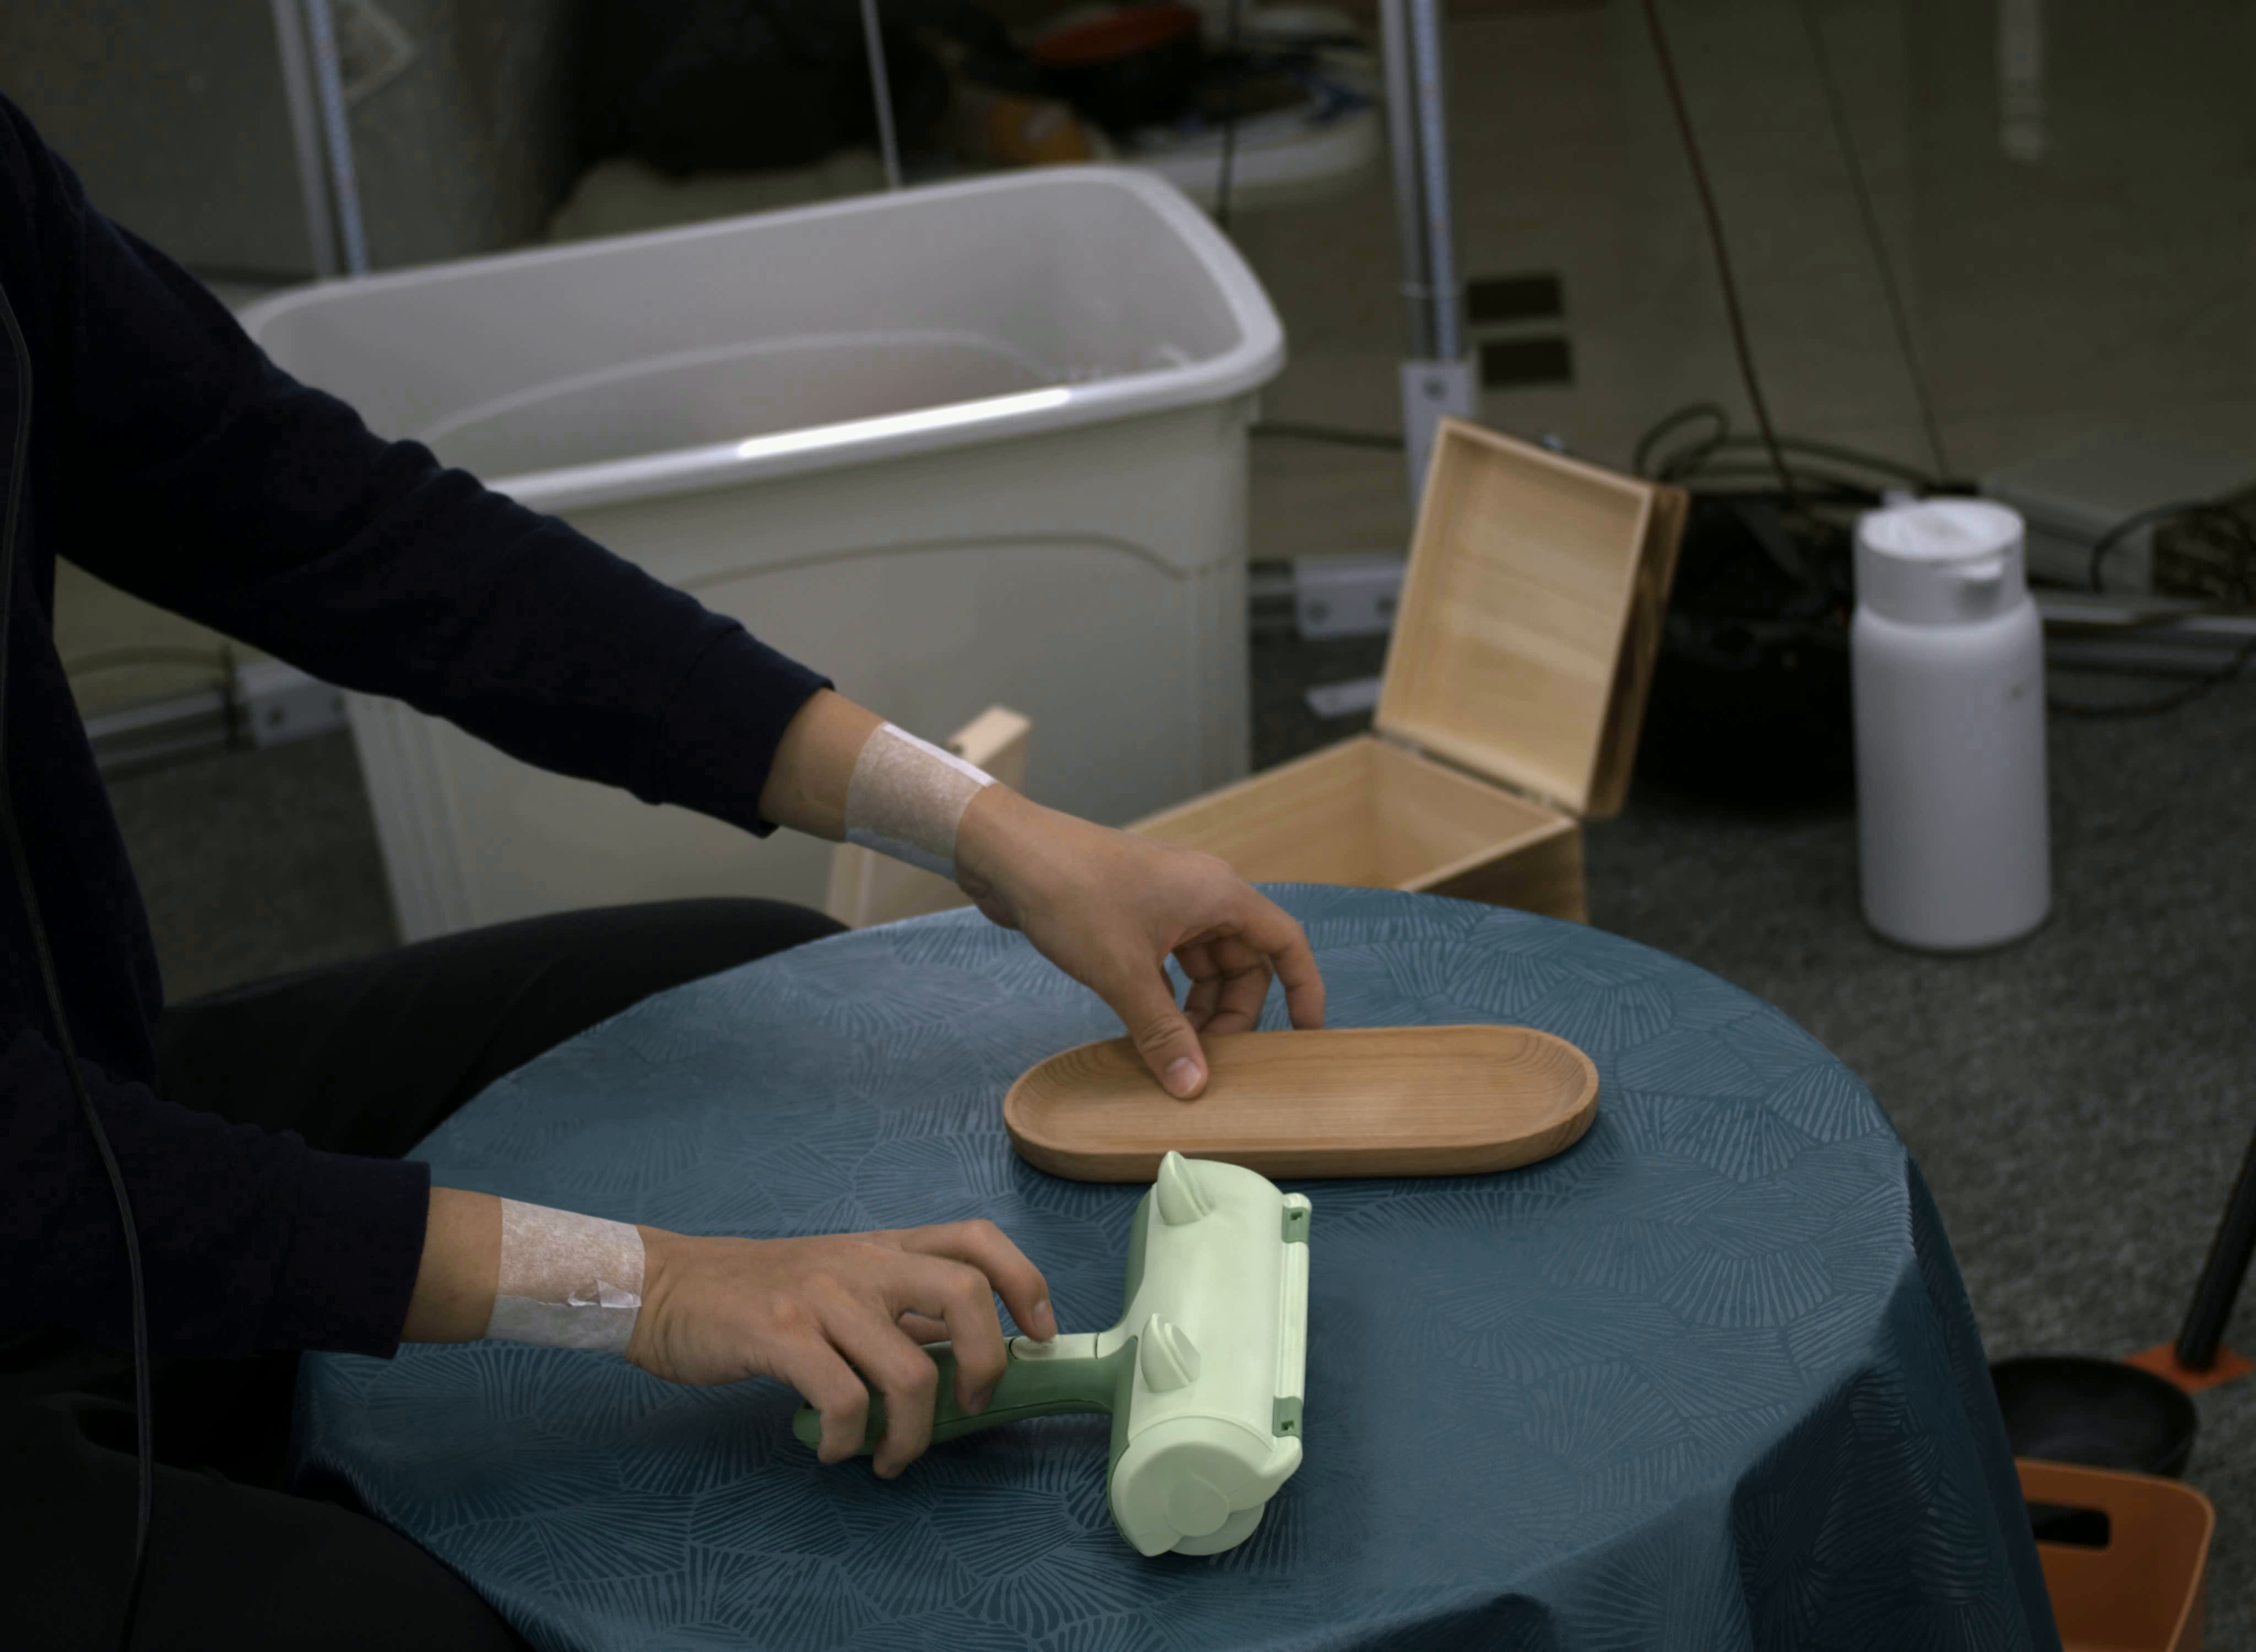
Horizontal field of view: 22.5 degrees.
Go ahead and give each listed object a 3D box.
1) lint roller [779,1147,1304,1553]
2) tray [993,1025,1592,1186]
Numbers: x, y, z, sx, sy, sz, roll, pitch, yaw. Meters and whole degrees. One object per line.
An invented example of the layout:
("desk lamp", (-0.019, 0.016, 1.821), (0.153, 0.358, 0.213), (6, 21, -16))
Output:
("lint roller", (-0.031, 0.175, 1.973), (0.183, 0.083, 0.196), (1, 25, 2))
("tray", (0.063, 0.108, 2.178), (0.231, 0.020, 0.100), (-3, 24, 10))
